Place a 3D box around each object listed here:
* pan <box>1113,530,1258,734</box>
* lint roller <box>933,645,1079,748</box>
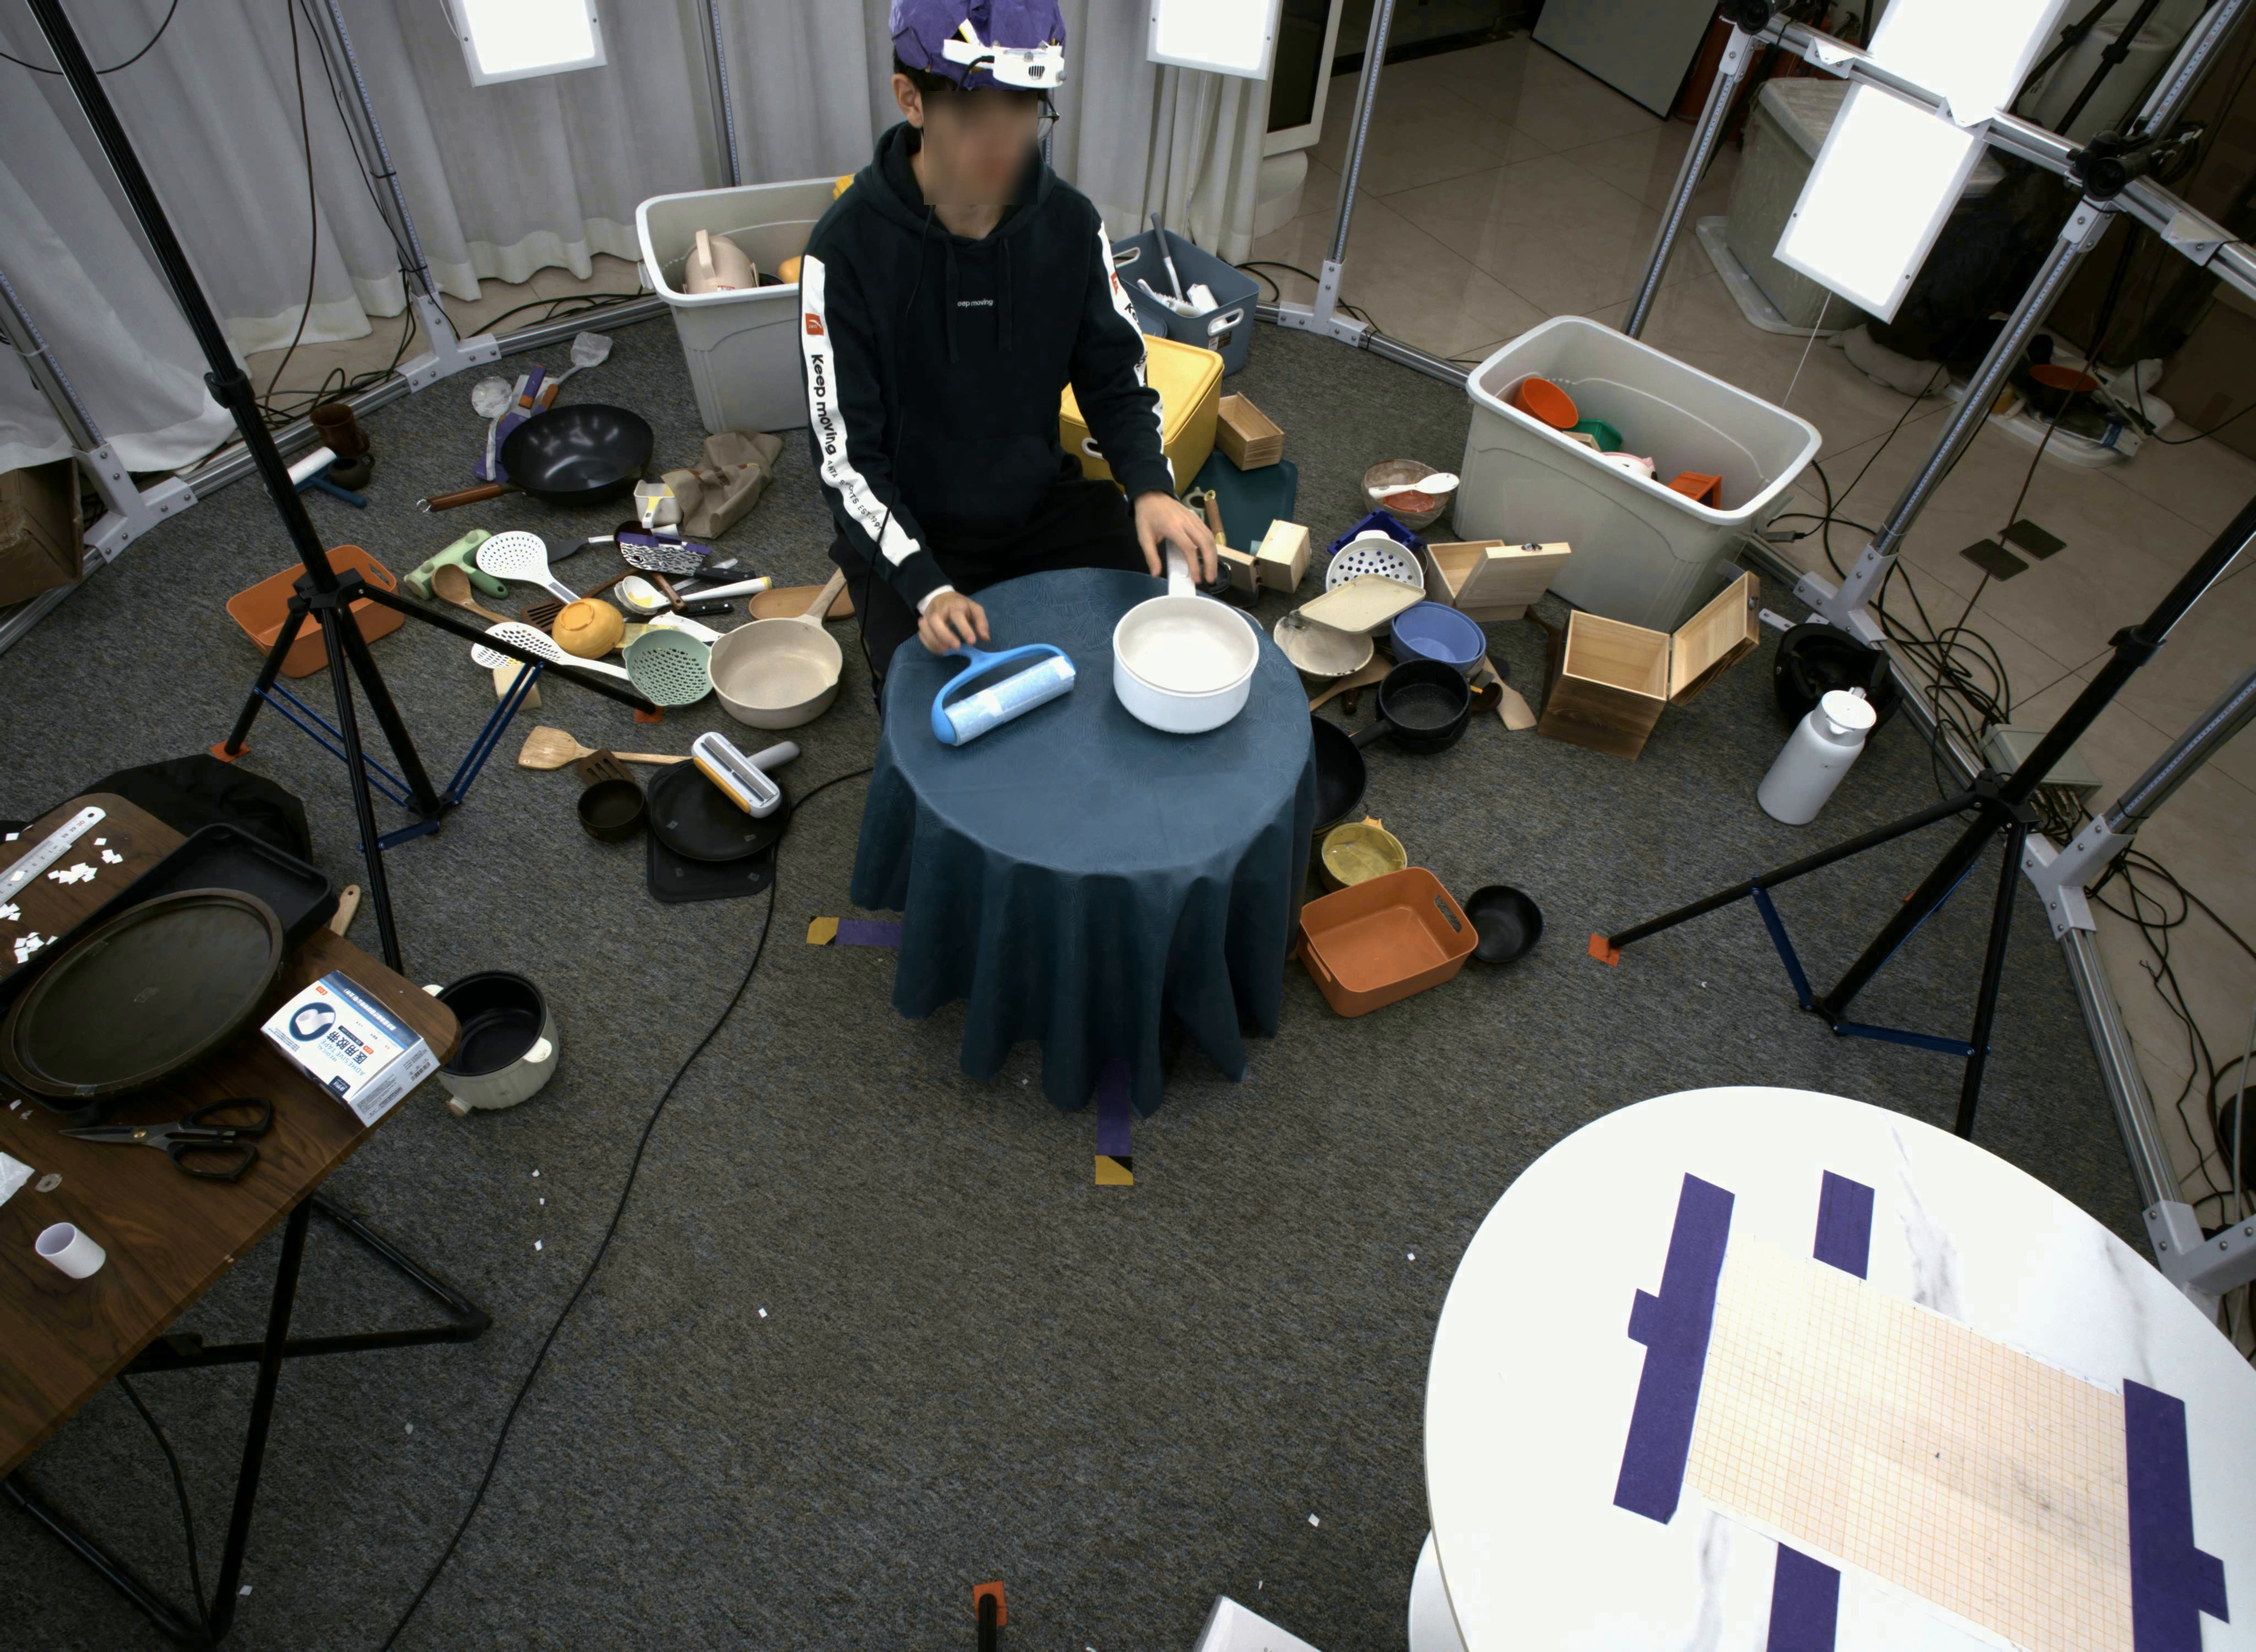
[{"bbox_3d":[0.078,-0.280,1.853,0.201,0.099,0.364,1,48,-1],"label":"pan"},{"bbox_3d":[-0.203,-0.210,1.800,0.230,0.066,0.183,-33,59,-26],"label":"lint roller"}]
